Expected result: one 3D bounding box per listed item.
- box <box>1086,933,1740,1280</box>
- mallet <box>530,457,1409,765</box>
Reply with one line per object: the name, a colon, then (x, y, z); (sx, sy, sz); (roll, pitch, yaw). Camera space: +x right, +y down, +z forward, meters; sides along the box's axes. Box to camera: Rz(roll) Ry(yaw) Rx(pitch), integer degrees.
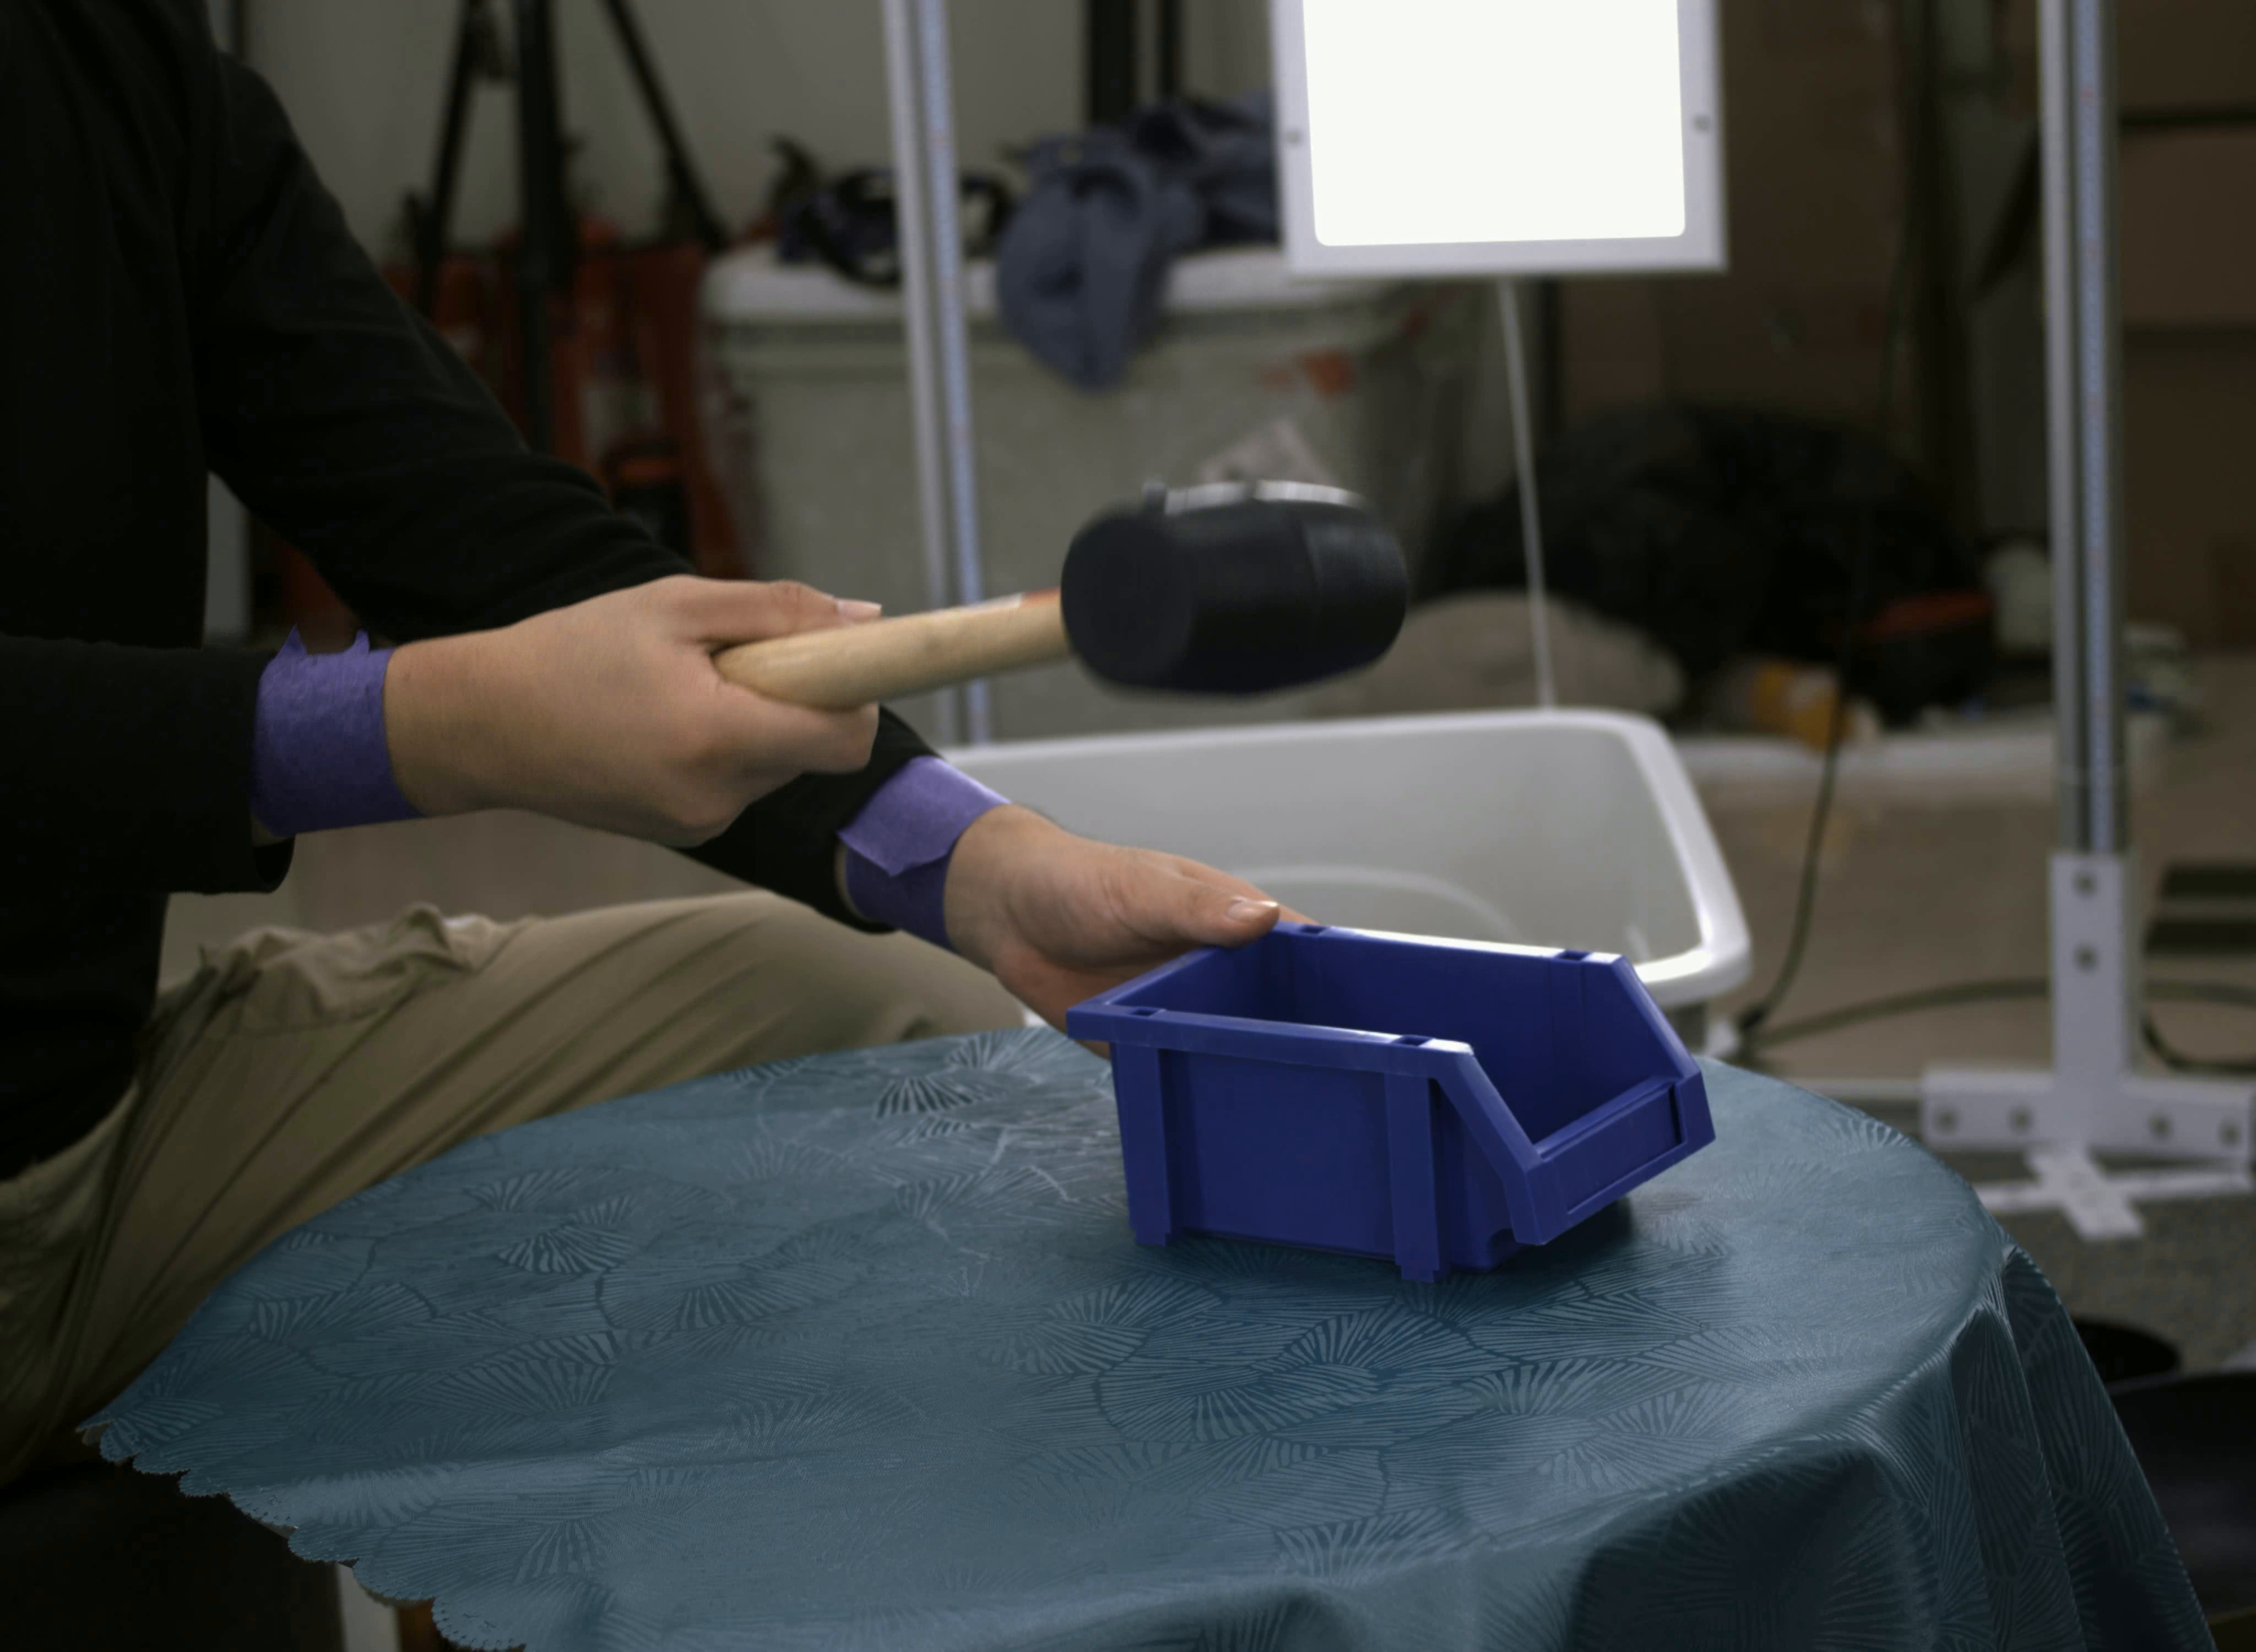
box: (0.098, 0.091, 1.836); (0.183, 0.082, 0.121); (1, 14, 37)
mallet: (-0.068, -0.065, 1.729); (0.347, 0.064, 0.099); (-7, -6, 45)
